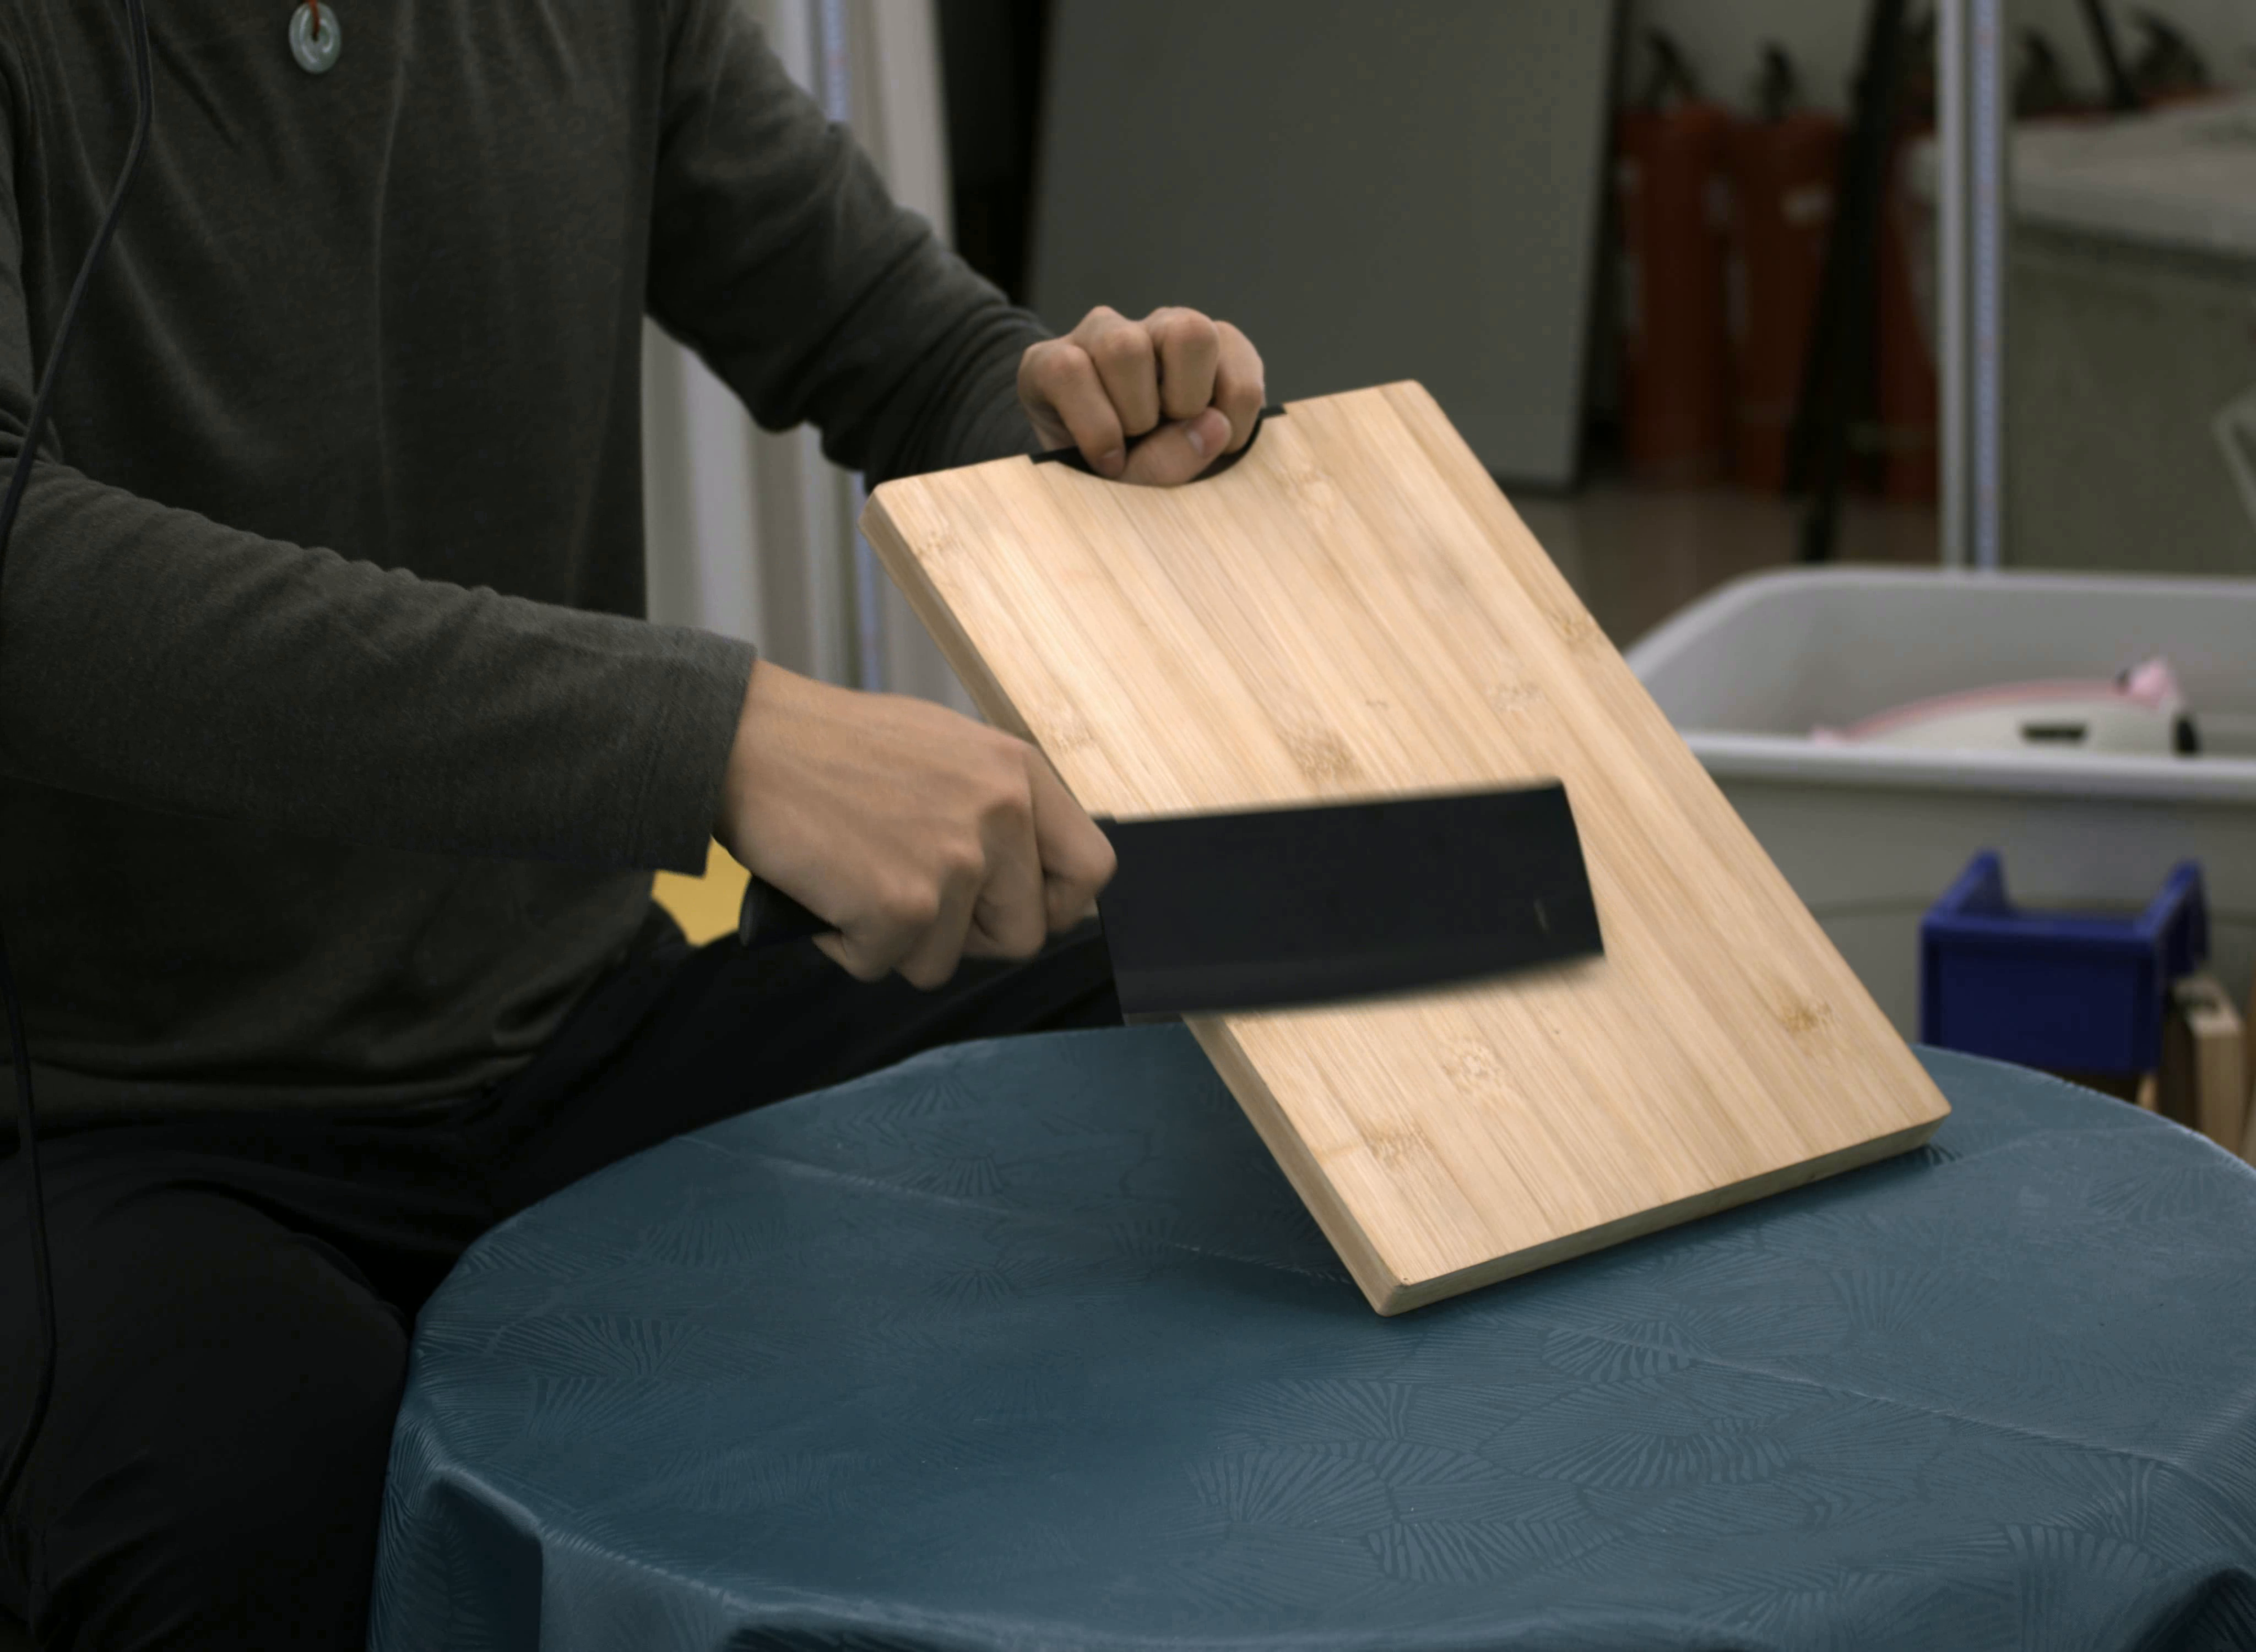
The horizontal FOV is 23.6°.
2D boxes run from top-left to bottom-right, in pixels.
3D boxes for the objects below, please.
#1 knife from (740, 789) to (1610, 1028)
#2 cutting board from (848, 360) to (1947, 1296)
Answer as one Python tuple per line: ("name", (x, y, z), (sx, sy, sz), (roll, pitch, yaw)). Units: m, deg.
("knife", (0.019, 0.025, 1.677), (0.295, 0.082, 0.021), (1, -20, -25))
("cutting board", (0.087, -0.008, 1.776), (0.245, 0.024, 0.353), (-14, 56, -35))
